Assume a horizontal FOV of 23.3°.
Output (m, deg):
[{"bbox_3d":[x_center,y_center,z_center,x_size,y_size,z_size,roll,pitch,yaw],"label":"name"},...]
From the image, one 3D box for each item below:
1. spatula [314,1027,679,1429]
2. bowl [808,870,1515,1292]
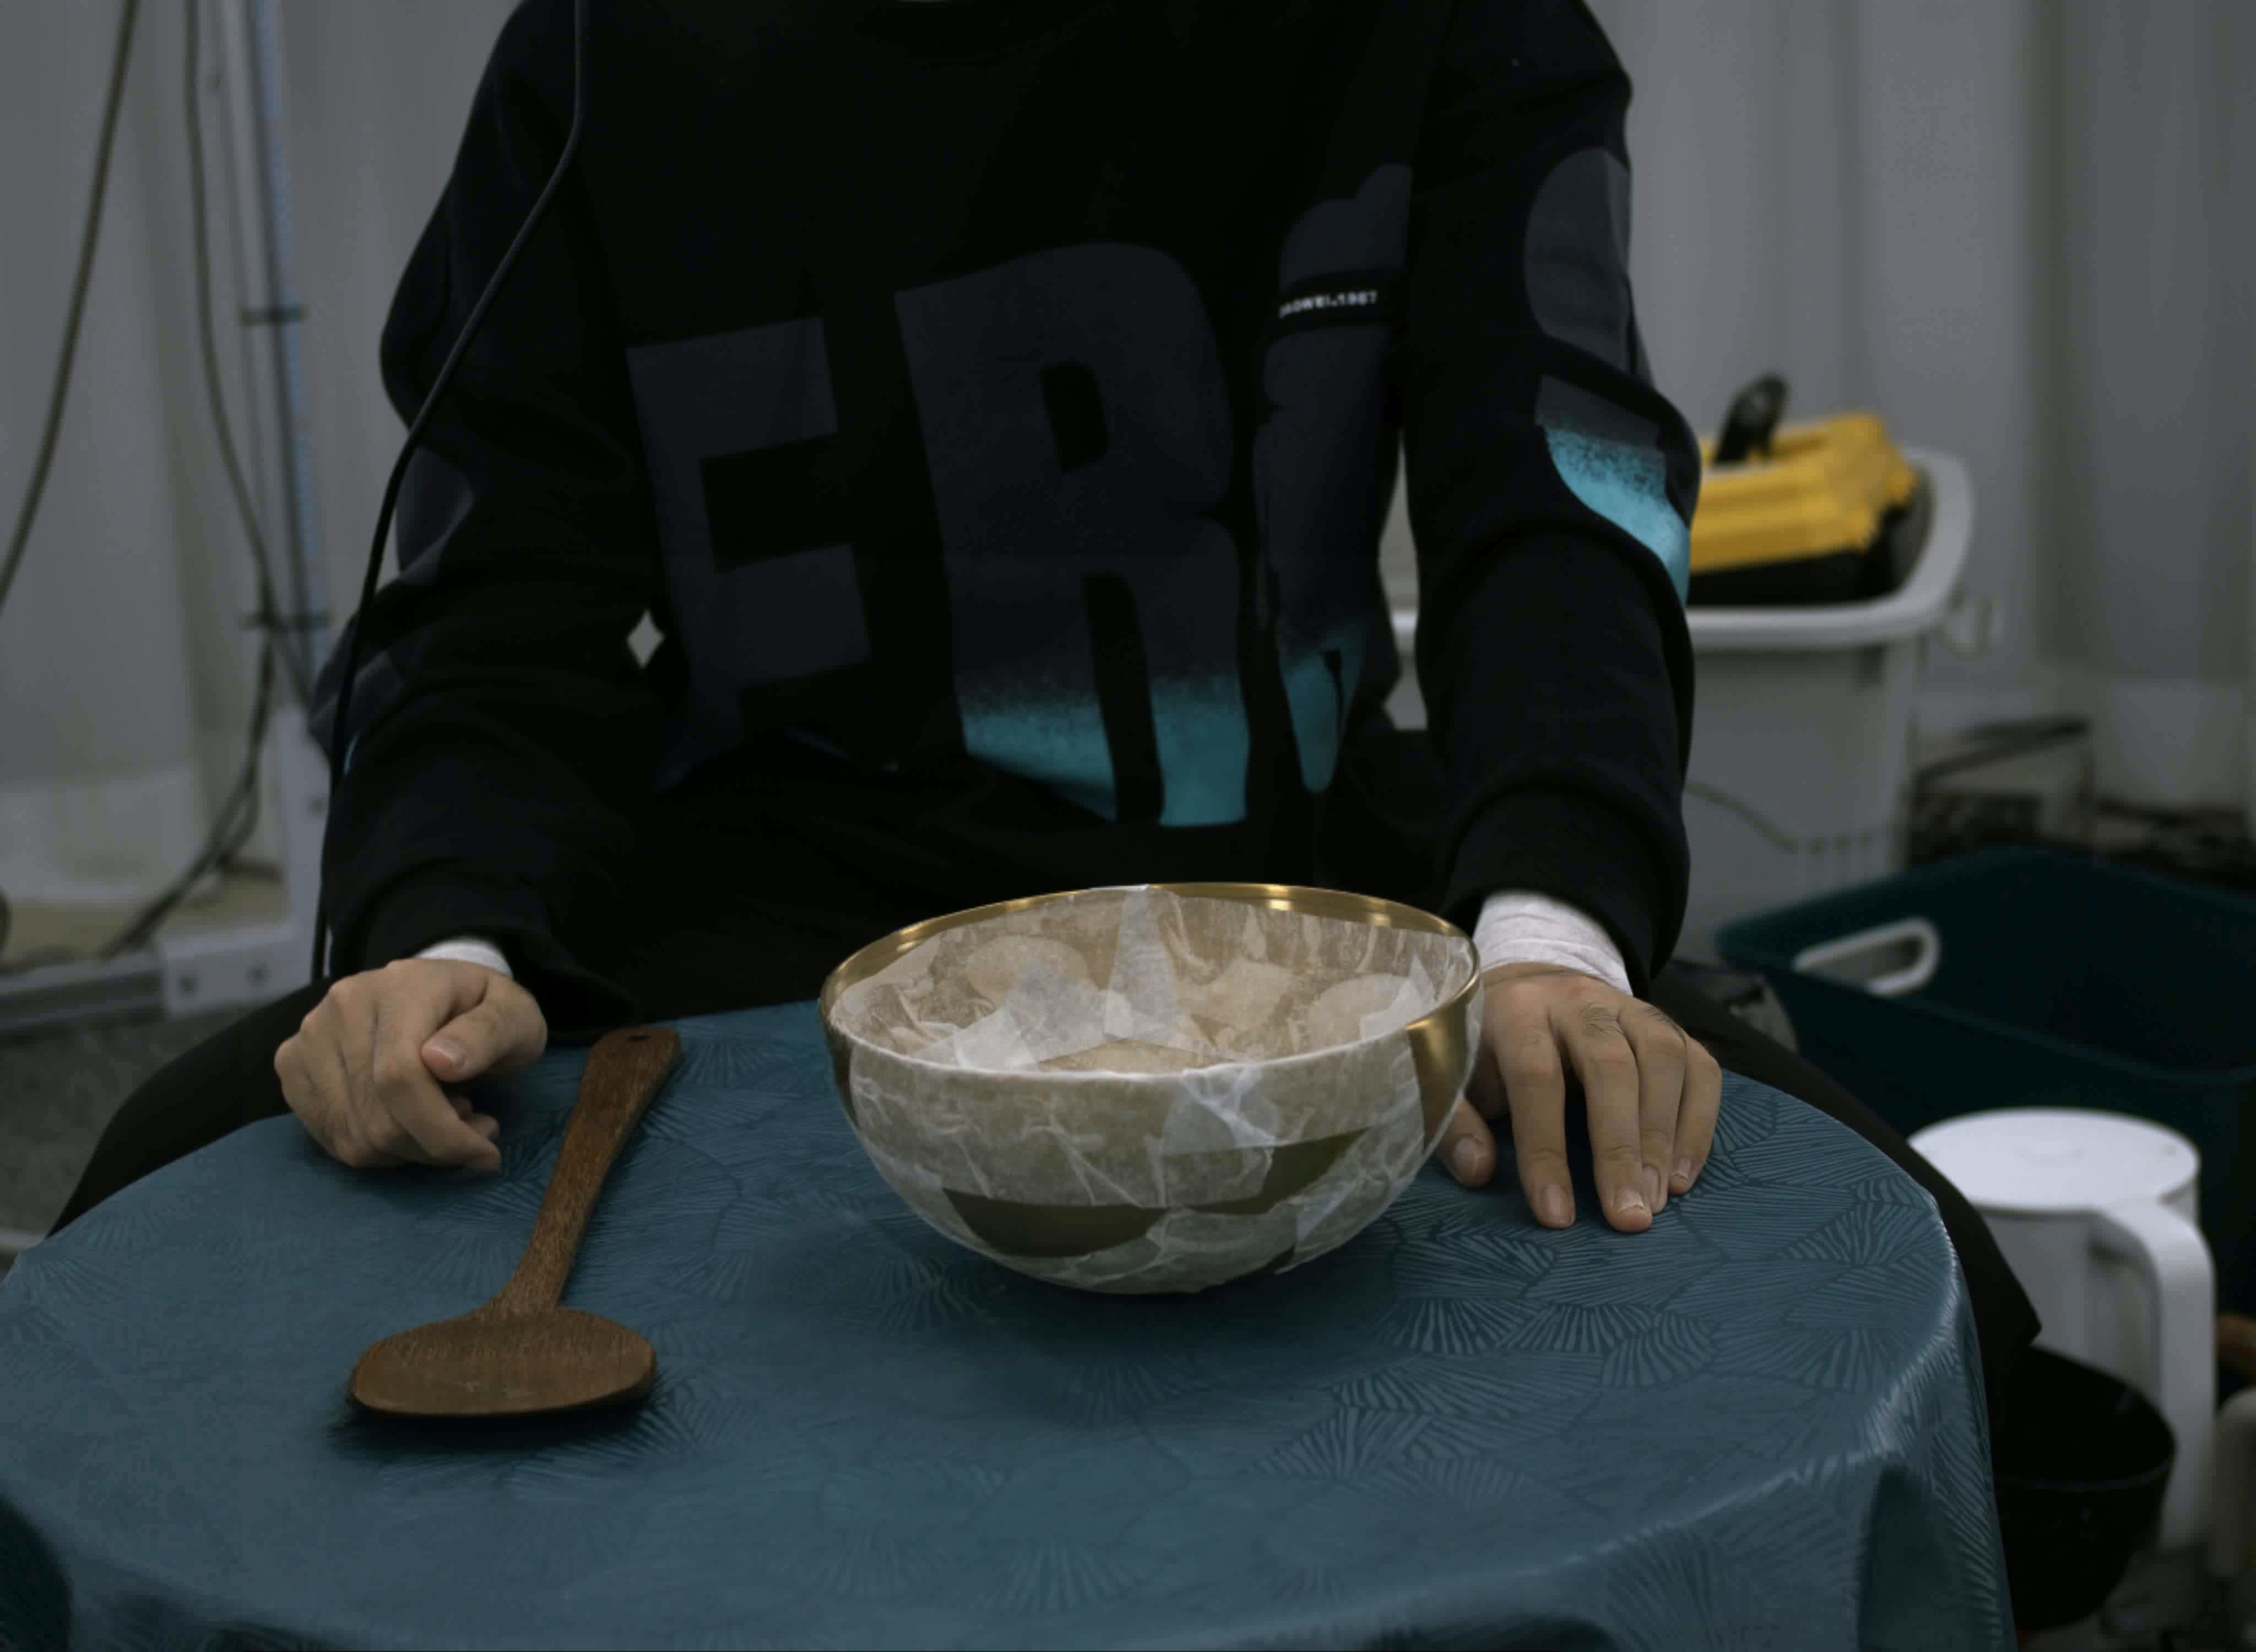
[{"bbox_3d":[-0.175,0.119,1.706,0.096,0.016,0.388,-1,15,3],"label":"spatula"},{"bbox_3d":[0.012,0.085,1.642,0.214,0.094,0.216,-4,14,1],"label":"bowl"}]
